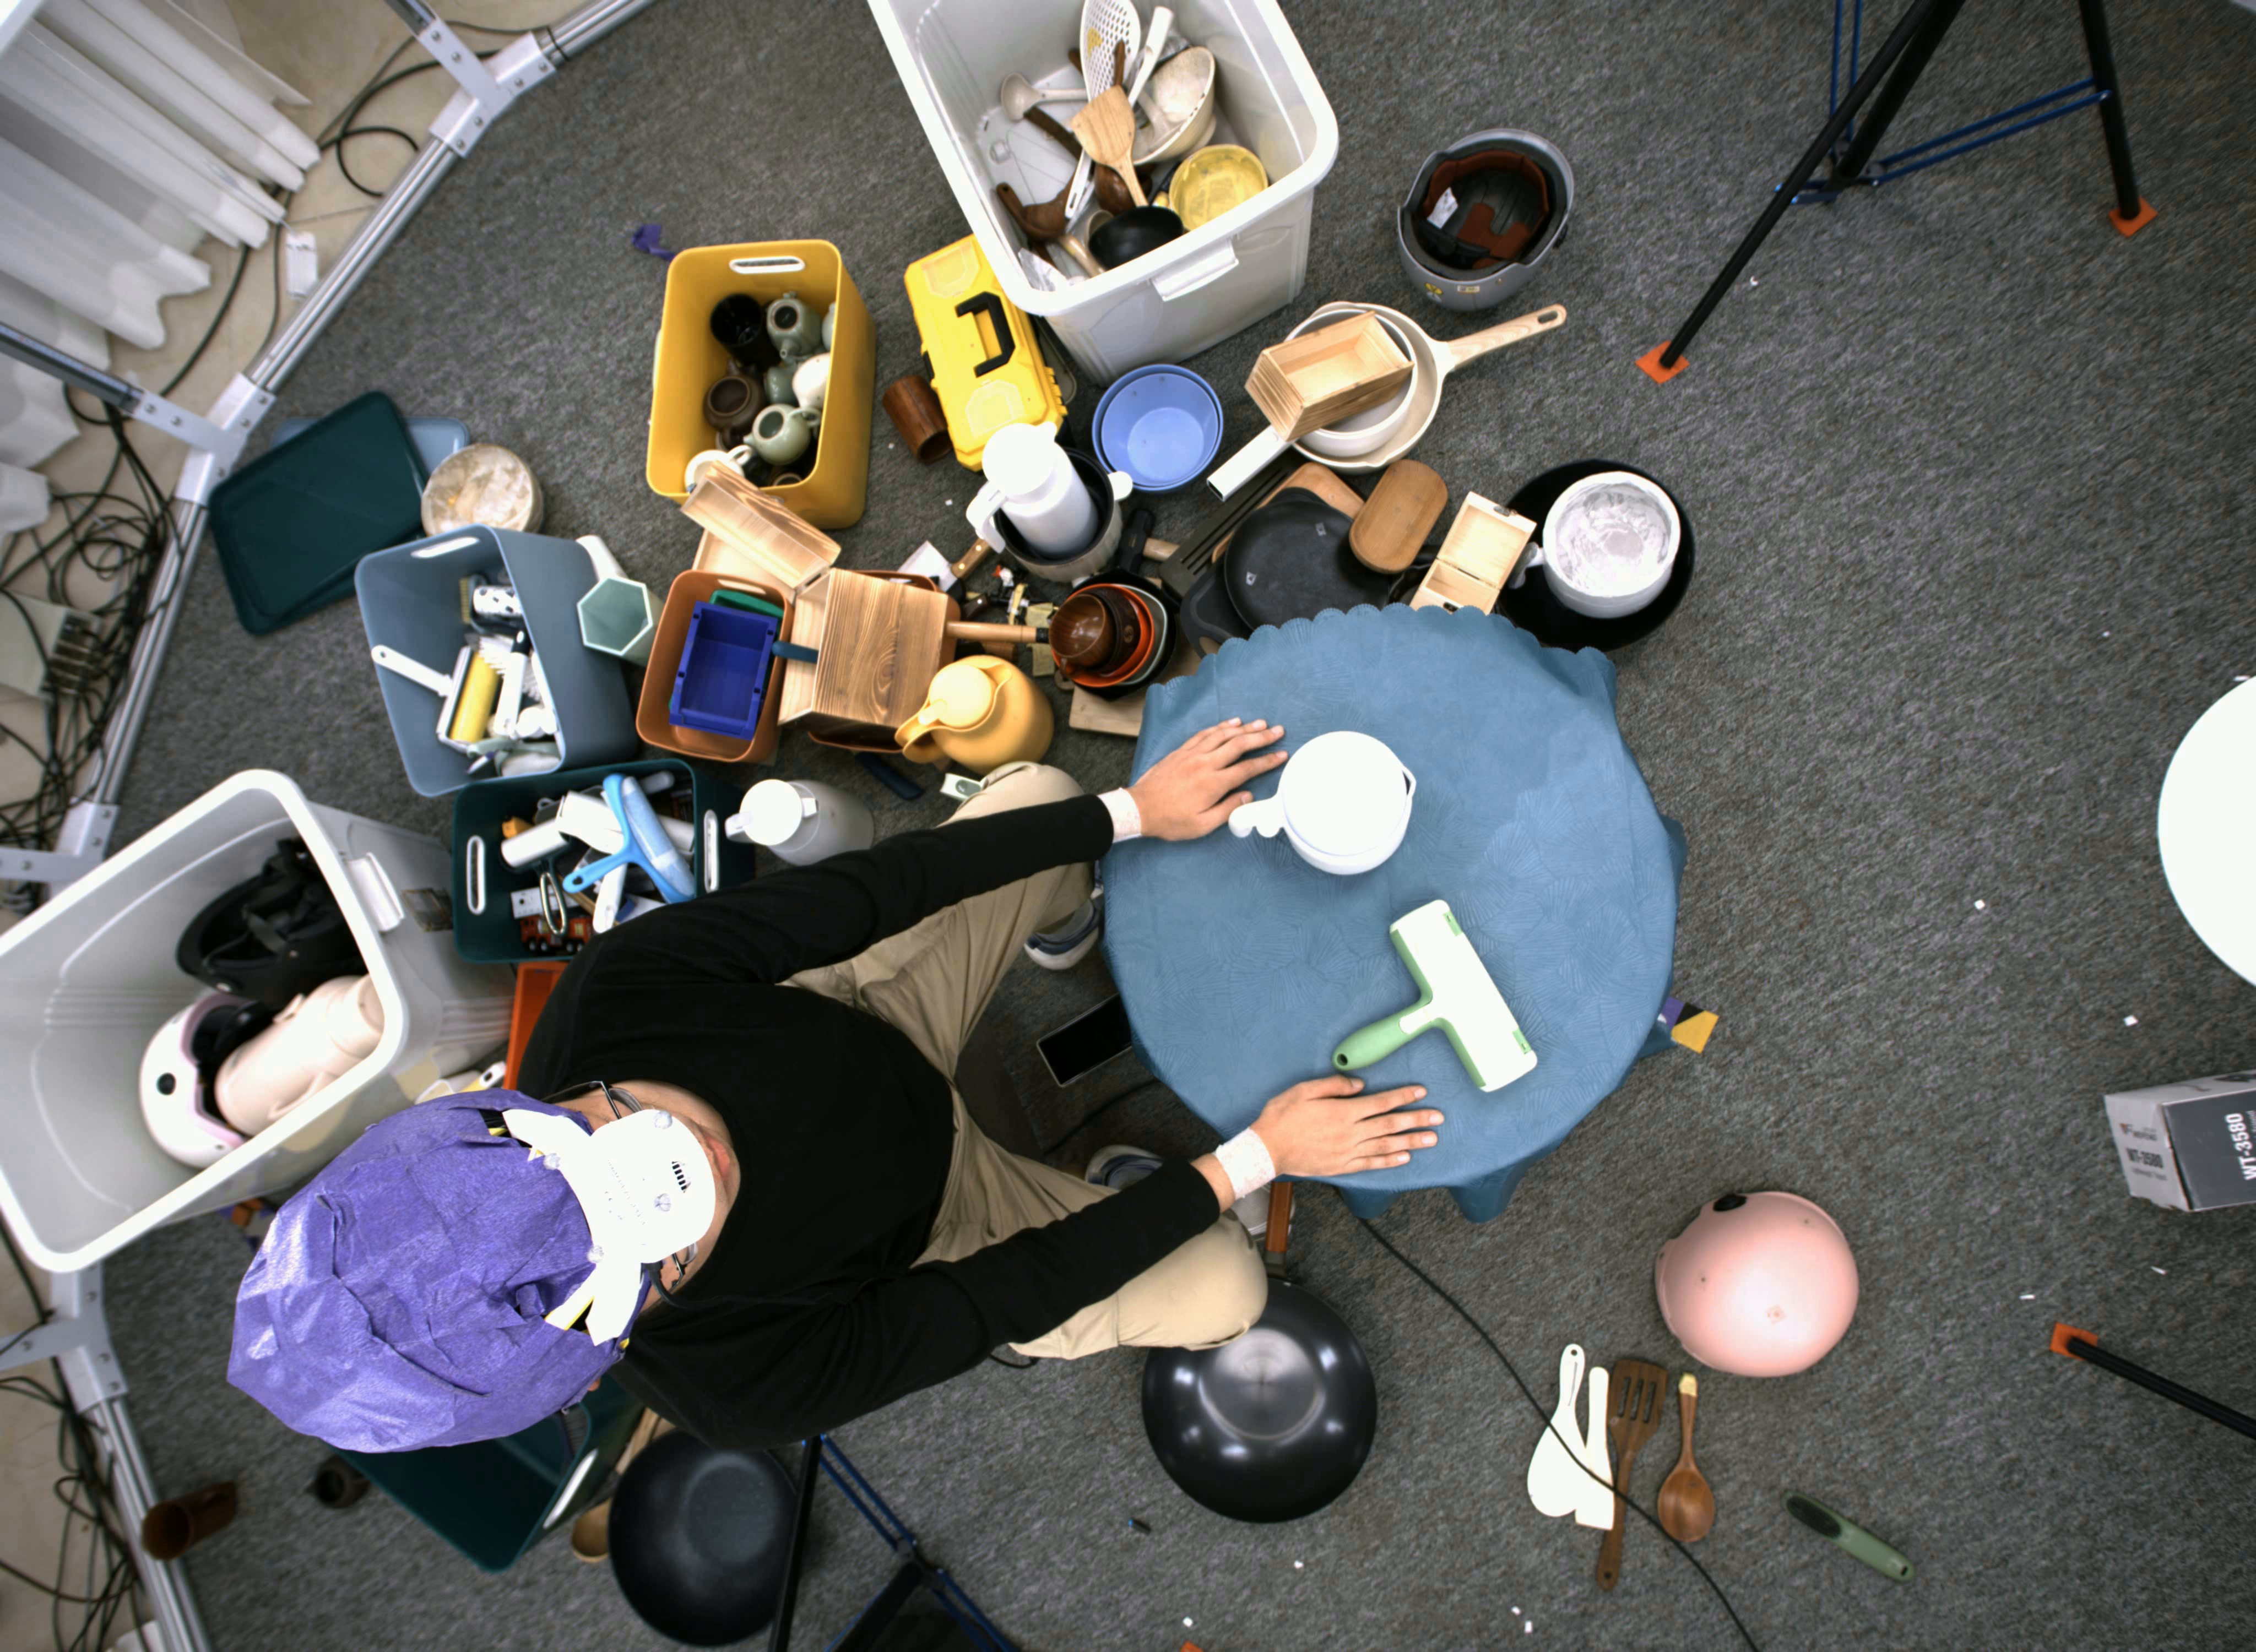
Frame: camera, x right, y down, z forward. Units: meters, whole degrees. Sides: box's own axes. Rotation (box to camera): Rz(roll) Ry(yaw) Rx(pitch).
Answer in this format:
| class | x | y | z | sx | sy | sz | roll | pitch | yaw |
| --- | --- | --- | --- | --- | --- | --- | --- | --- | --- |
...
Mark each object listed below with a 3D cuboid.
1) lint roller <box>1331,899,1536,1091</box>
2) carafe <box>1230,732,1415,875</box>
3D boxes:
| class | x | y | z | sx | sy | sz | roll | pitch | yaw |
| --- | --- | --- | --- | --- | --- | --- | --- | --- | --- |
| lint roller | 0.289 | 0.198 | 1.411 | 0.184 | 0.082 | 0.197 | -29 | 81 | 5 |
| carafe | 0.194 | -0.017 | 1.392 | 0.192 | 0.182 | 0.131 | -13 | 82 | 11 |
